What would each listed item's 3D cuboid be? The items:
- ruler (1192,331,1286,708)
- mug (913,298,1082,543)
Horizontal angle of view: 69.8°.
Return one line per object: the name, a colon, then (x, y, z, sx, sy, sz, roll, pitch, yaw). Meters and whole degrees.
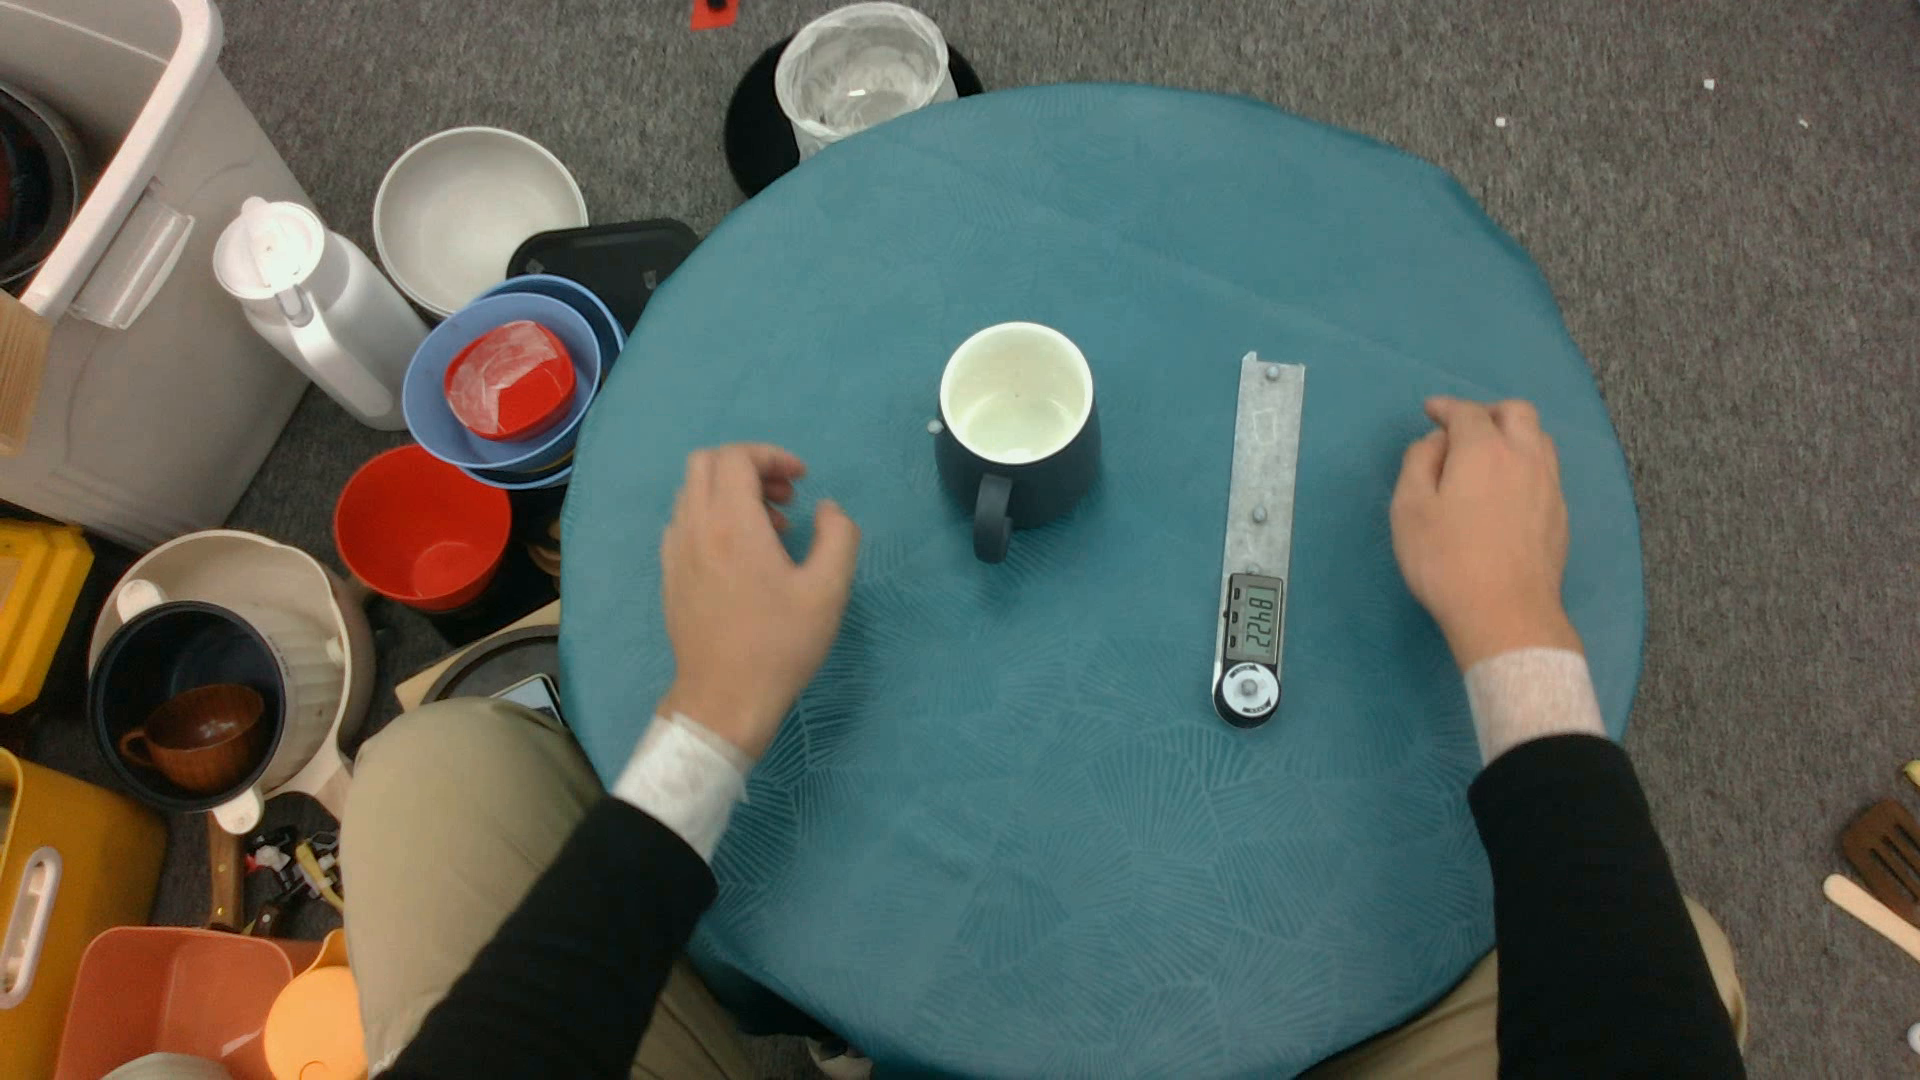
ruler: (0.156, -0.017, 0.753, 0.038, 0.024, 0.219, 10, 73, -3)
mug: (0.016, -0.059, 0.735, 0.093, 0.089, 0.123, 12, 71, 7)
